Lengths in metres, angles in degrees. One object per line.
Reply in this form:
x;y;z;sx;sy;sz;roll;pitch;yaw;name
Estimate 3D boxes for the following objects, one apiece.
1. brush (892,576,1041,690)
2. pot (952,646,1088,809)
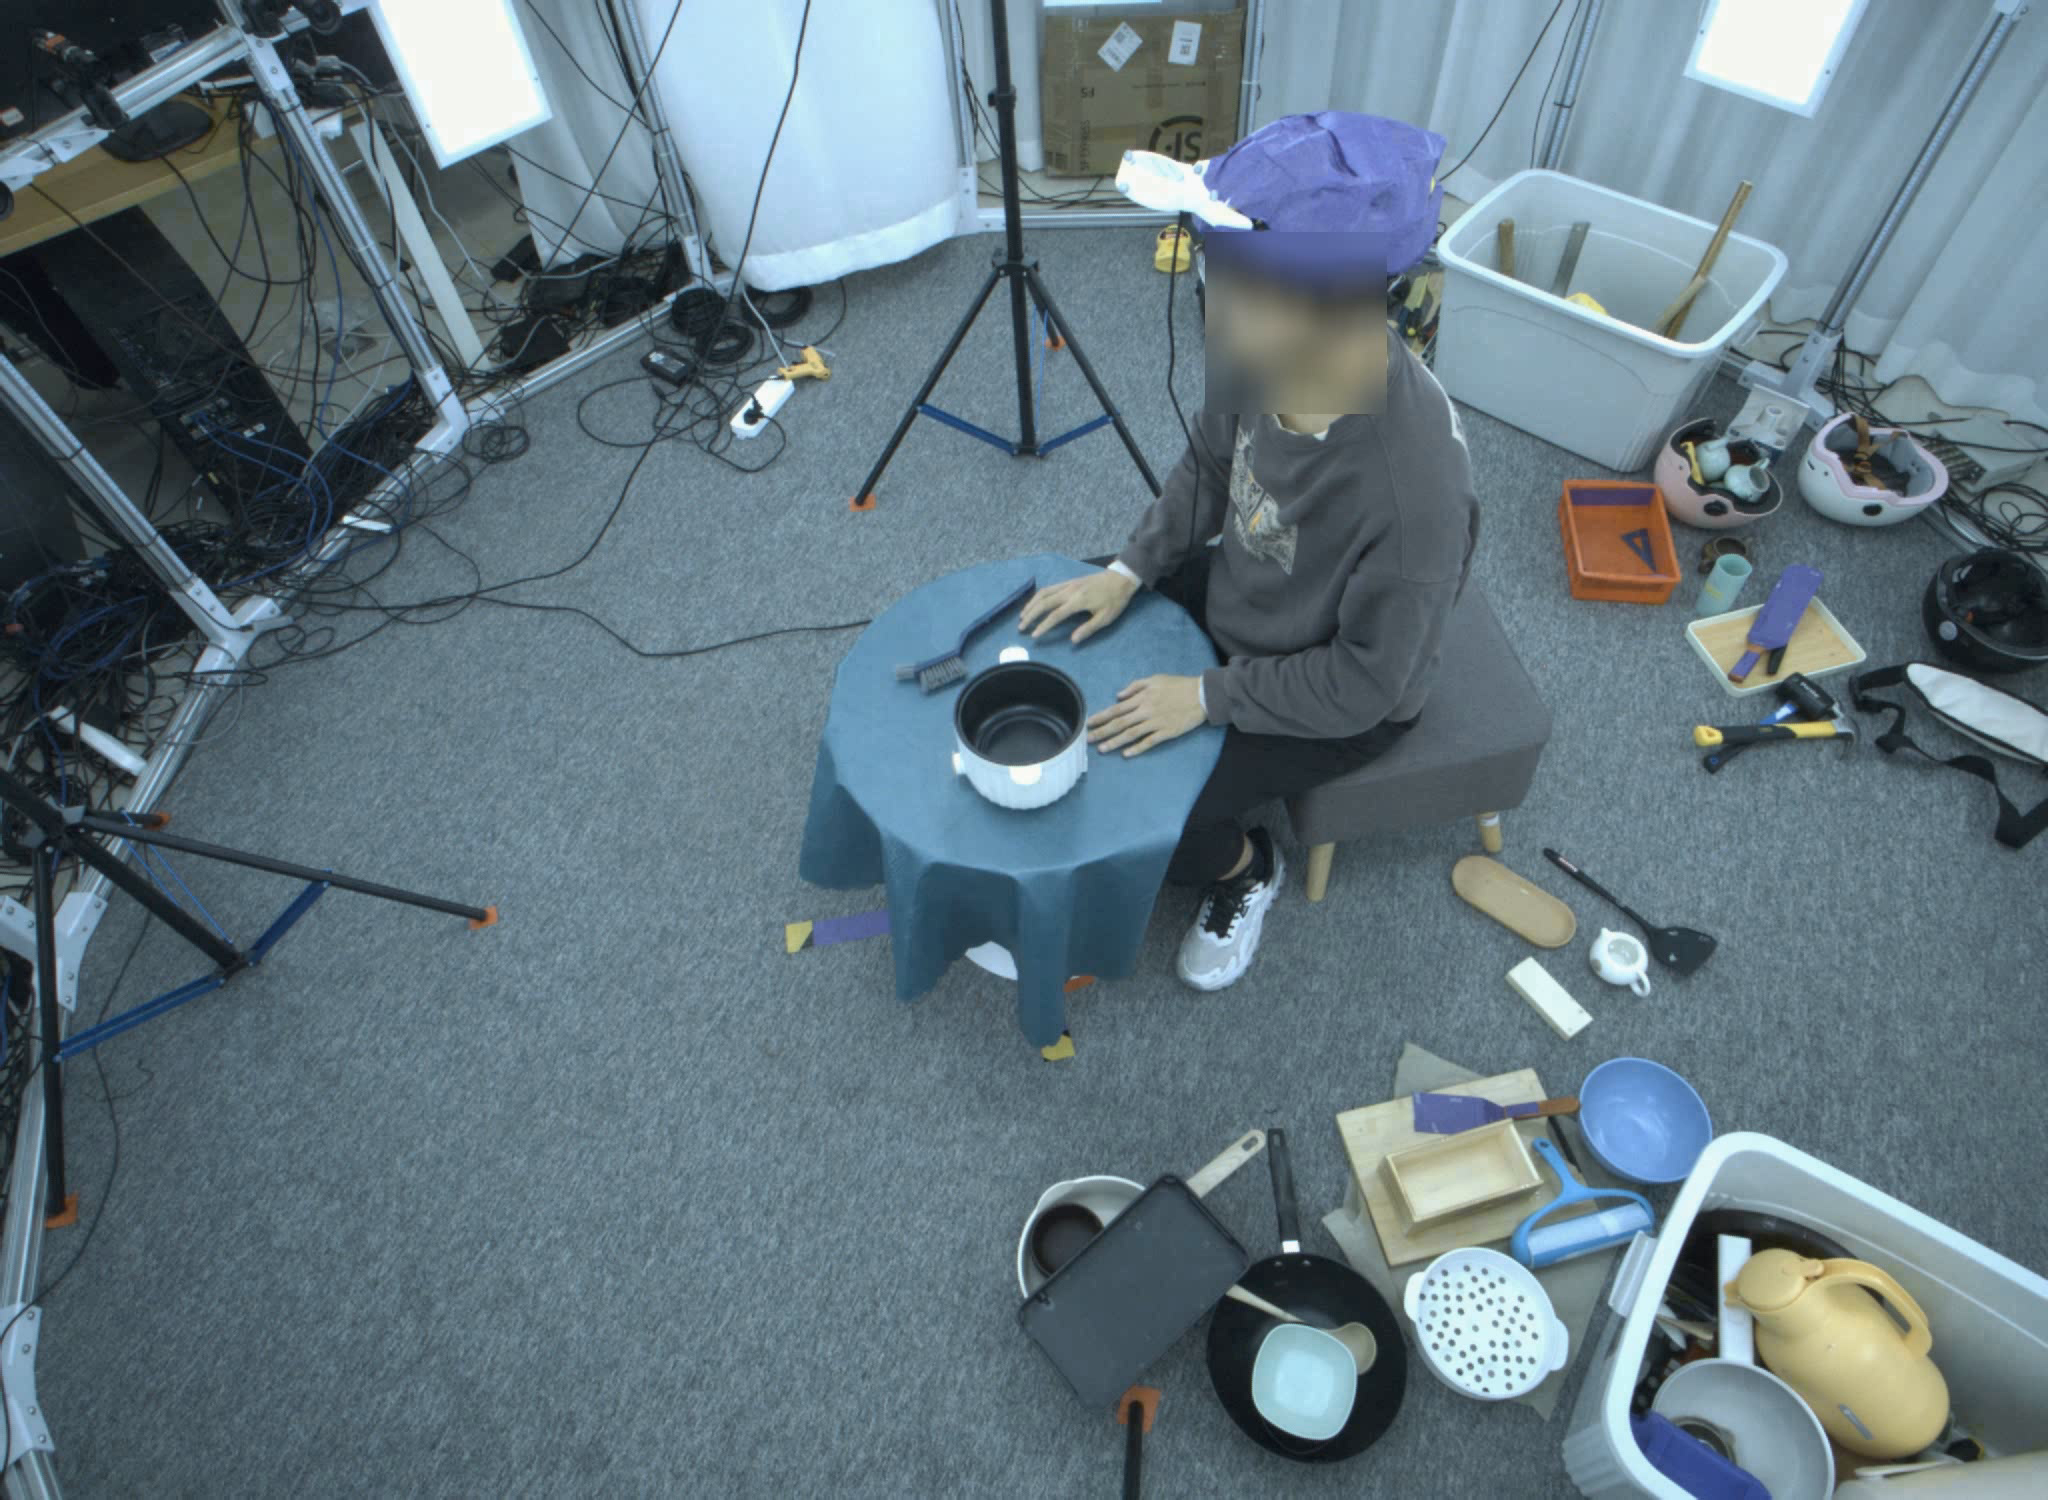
-0.082;-0.190;1.906;0.094;0.034;0.274;32;62;23;brush
-0.007;-0.012;1.707;0.191;0.144;0.237;-4;53;-4;pot
